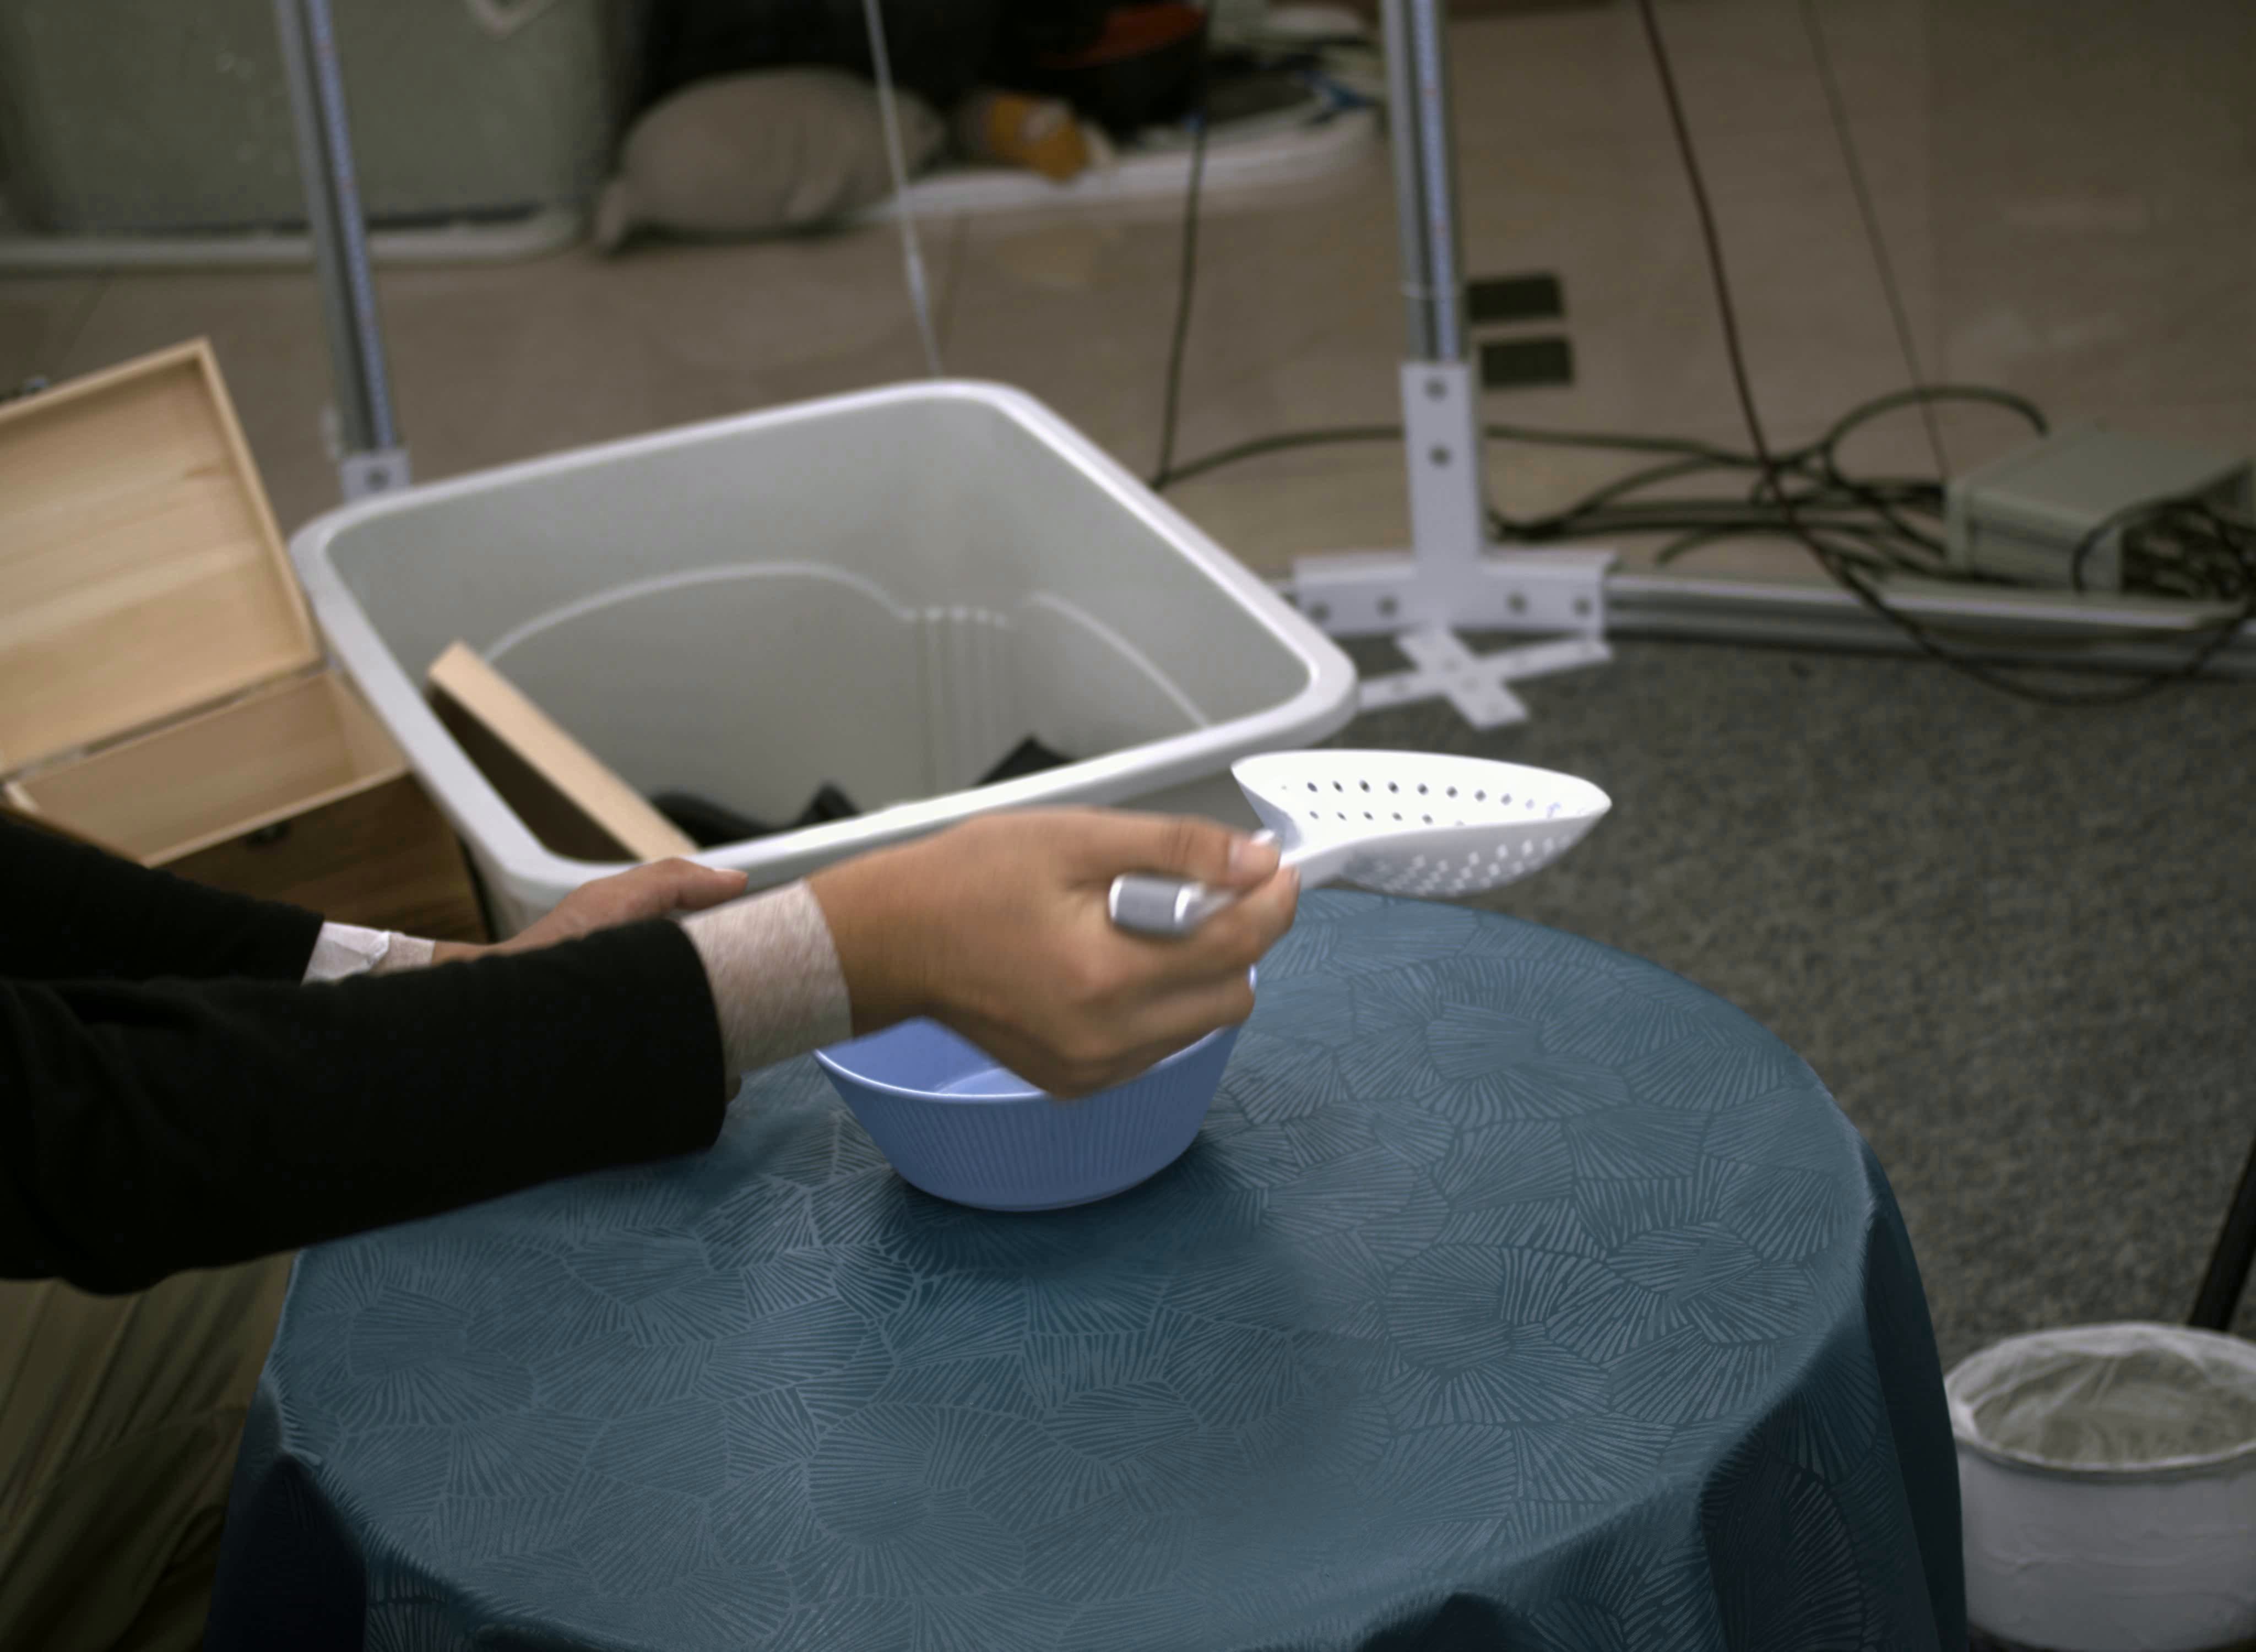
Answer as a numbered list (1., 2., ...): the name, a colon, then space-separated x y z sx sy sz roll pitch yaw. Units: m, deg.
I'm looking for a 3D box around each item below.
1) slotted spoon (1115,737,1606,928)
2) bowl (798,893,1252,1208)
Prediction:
1. slotted spoon: 0.067 0.001 1.934 0.135 0.046 0.349 9 5 19
2. bowl: -0.036 0.092 2.173 0.176 0.071 0.173 -6 25 3
